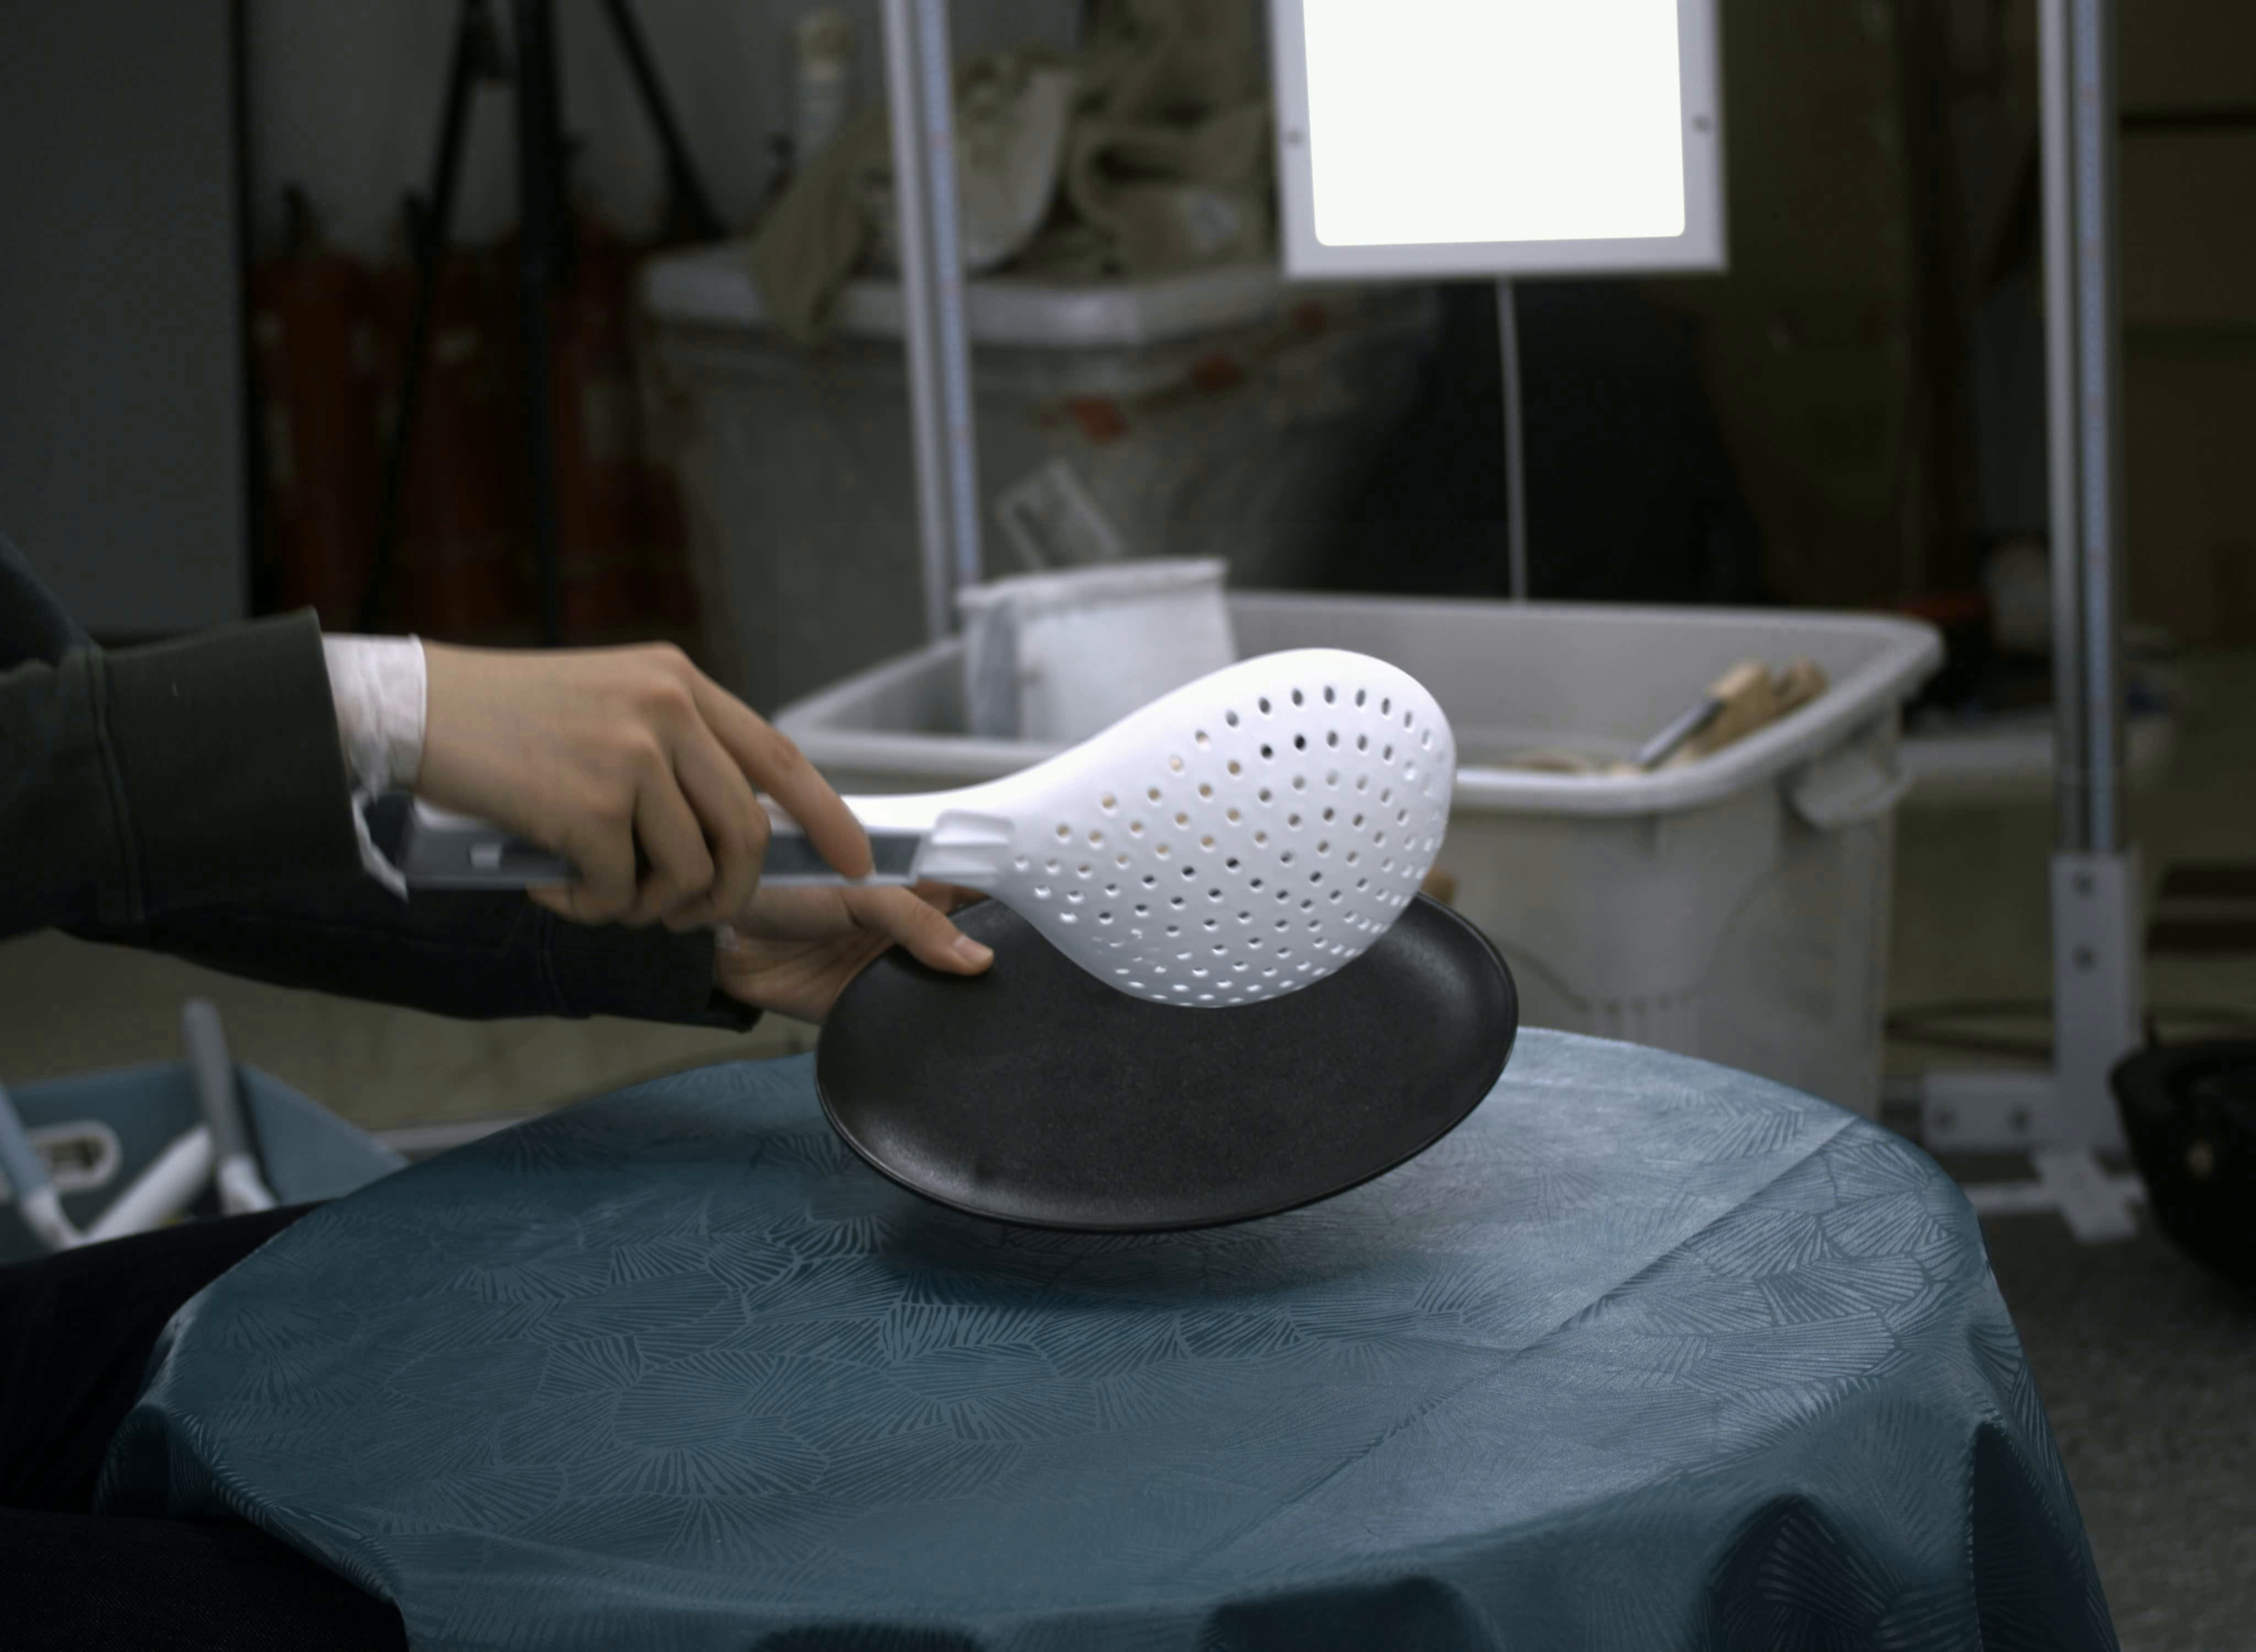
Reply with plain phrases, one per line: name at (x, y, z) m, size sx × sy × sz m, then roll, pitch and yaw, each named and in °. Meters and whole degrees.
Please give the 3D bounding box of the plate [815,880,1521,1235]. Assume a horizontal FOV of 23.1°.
plate at (0.014, 0.079, 1.887) m, size 0.244 × 0.023 × 0.244 m, roll -7°, pitch 29°, yaw 2°

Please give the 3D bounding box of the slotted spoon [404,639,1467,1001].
slotted spoon at (-0.049, 0.005, 1.647) m, size 0.343 × 0.137 × 0.046 m, roll 2°, pitch 36°, yaw -22°
